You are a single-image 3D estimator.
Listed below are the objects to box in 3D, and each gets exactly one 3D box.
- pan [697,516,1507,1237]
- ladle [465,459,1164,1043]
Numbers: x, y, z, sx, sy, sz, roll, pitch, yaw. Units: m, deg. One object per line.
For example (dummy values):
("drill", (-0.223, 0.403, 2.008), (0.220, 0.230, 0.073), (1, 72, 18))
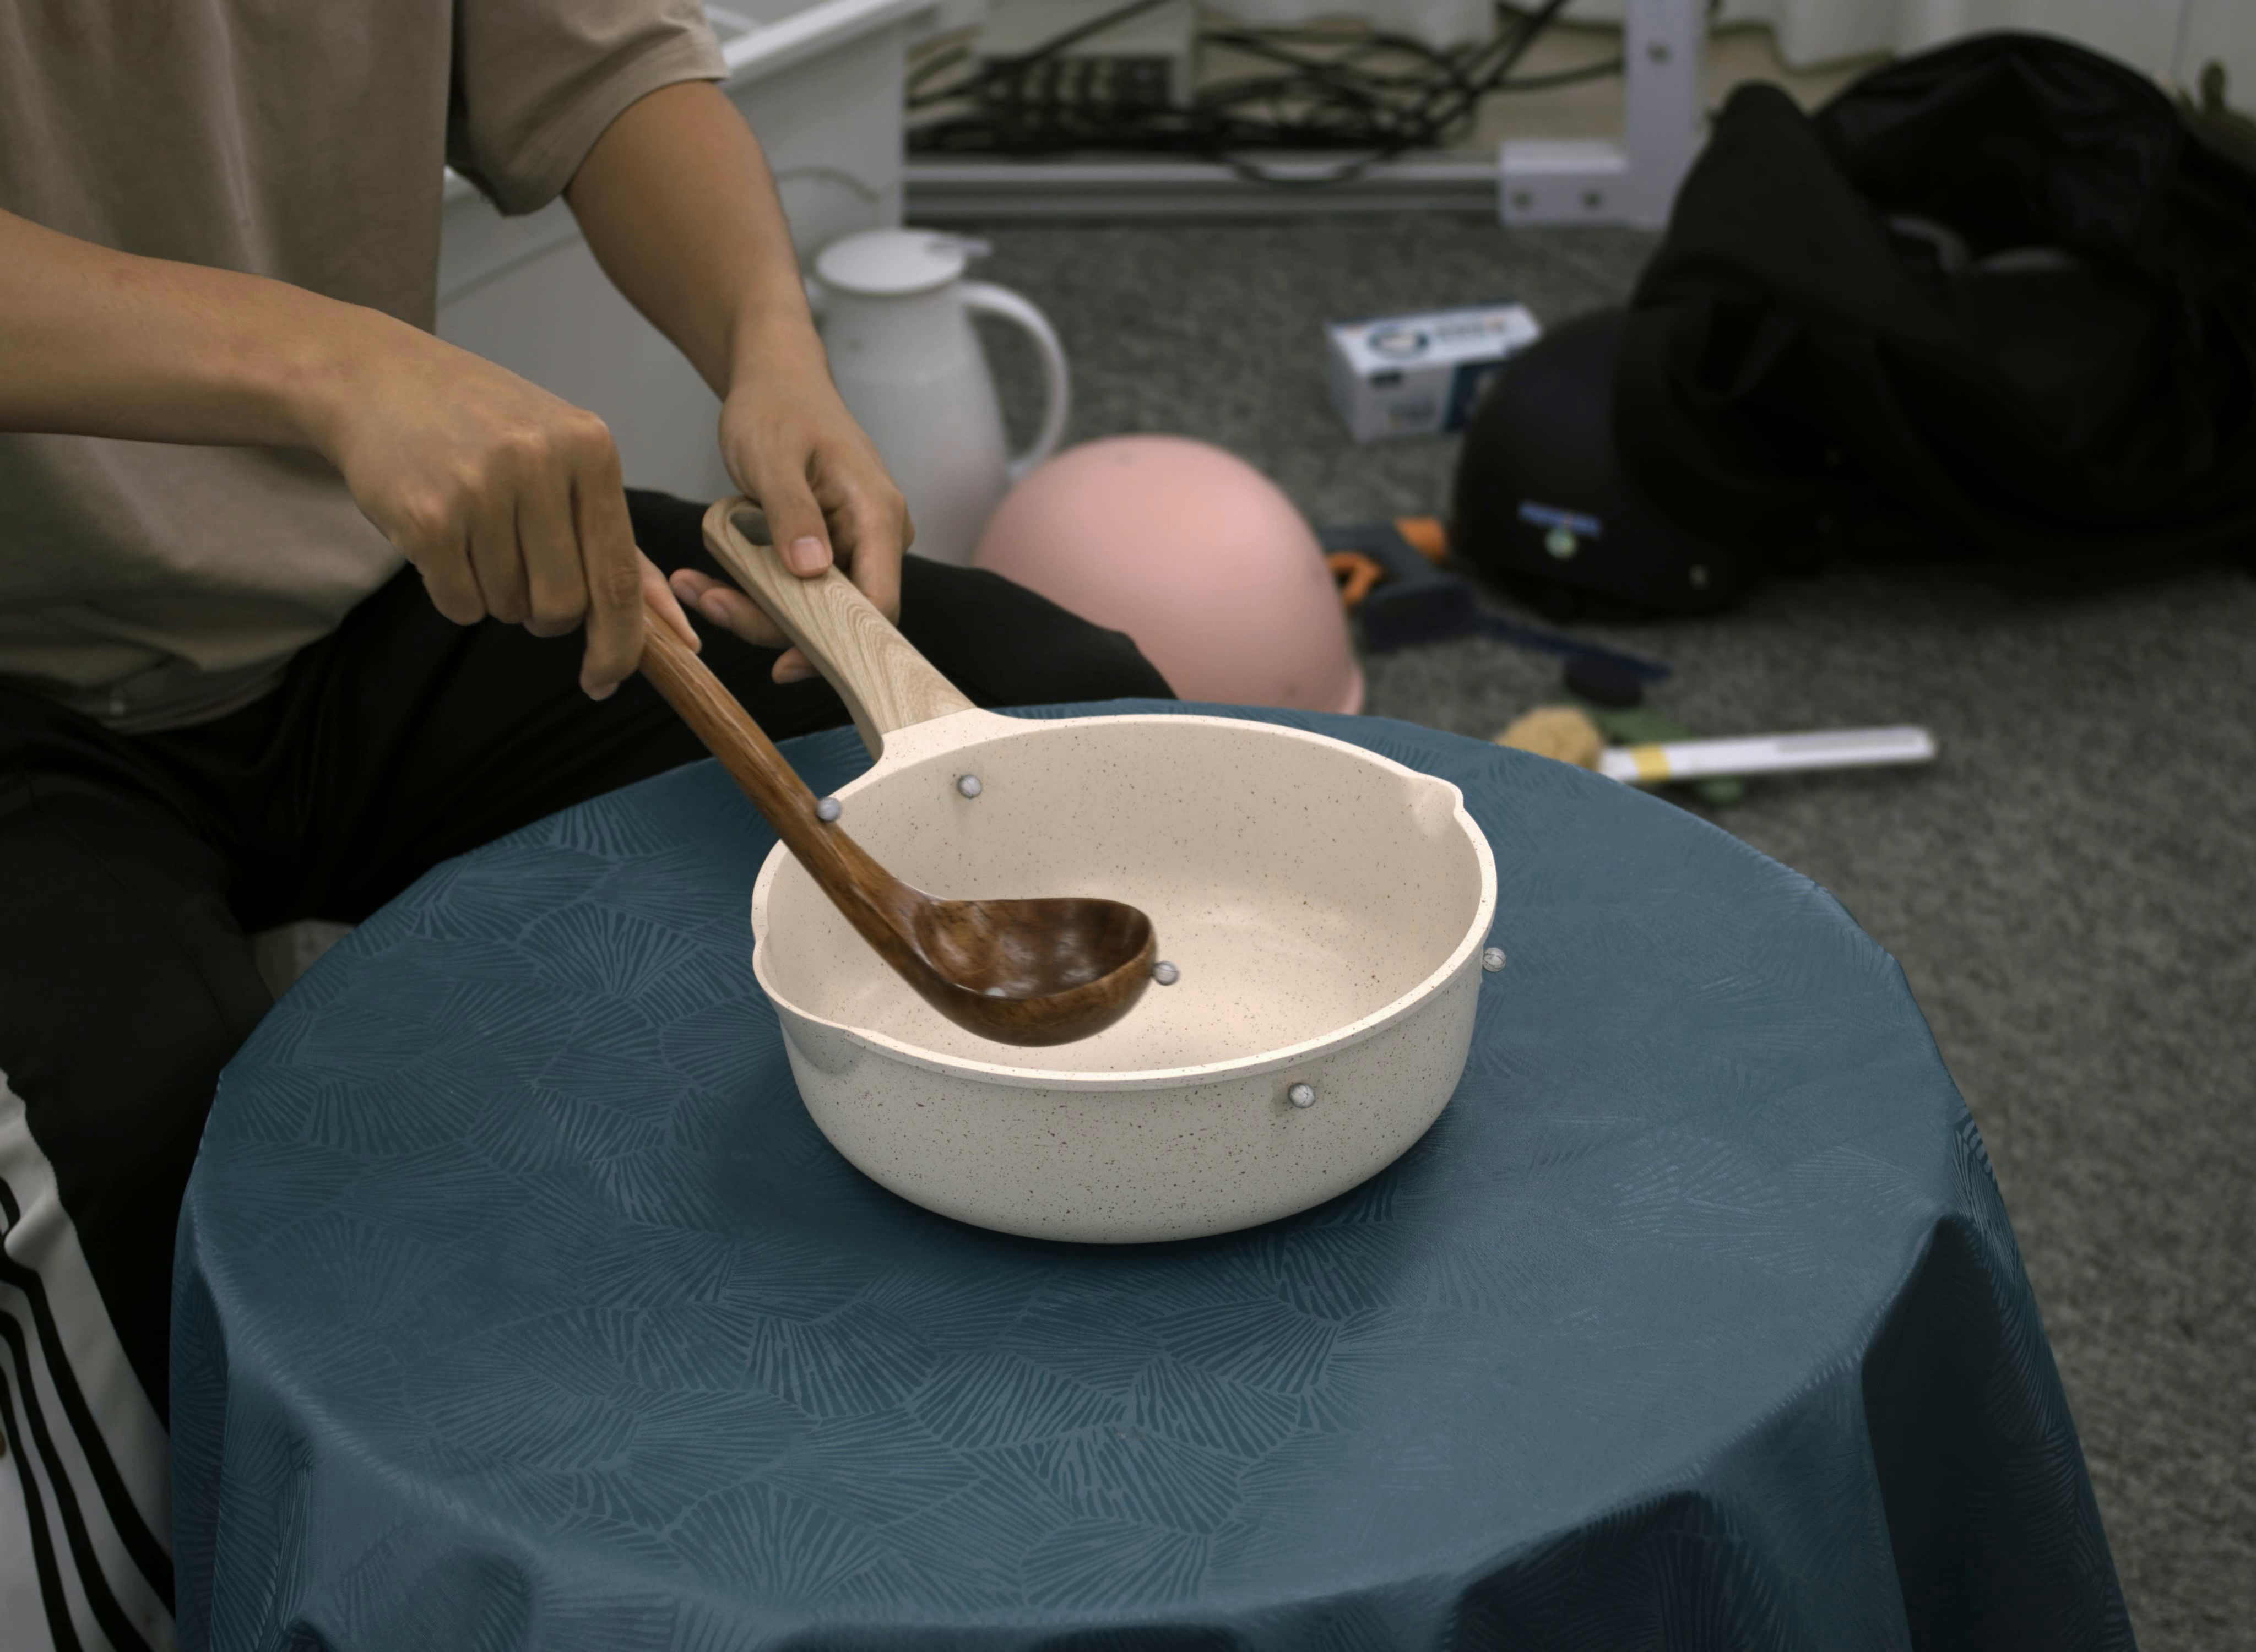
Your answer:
("pan", (-0.041, 0.011, 1.972), (0.265, 0.101, 0.437), (-18, 31, -24))
("ladle", (-0.098, -0.032, 1.827), (0.076, 0.273, 0.083), (-39, 9, 17))
